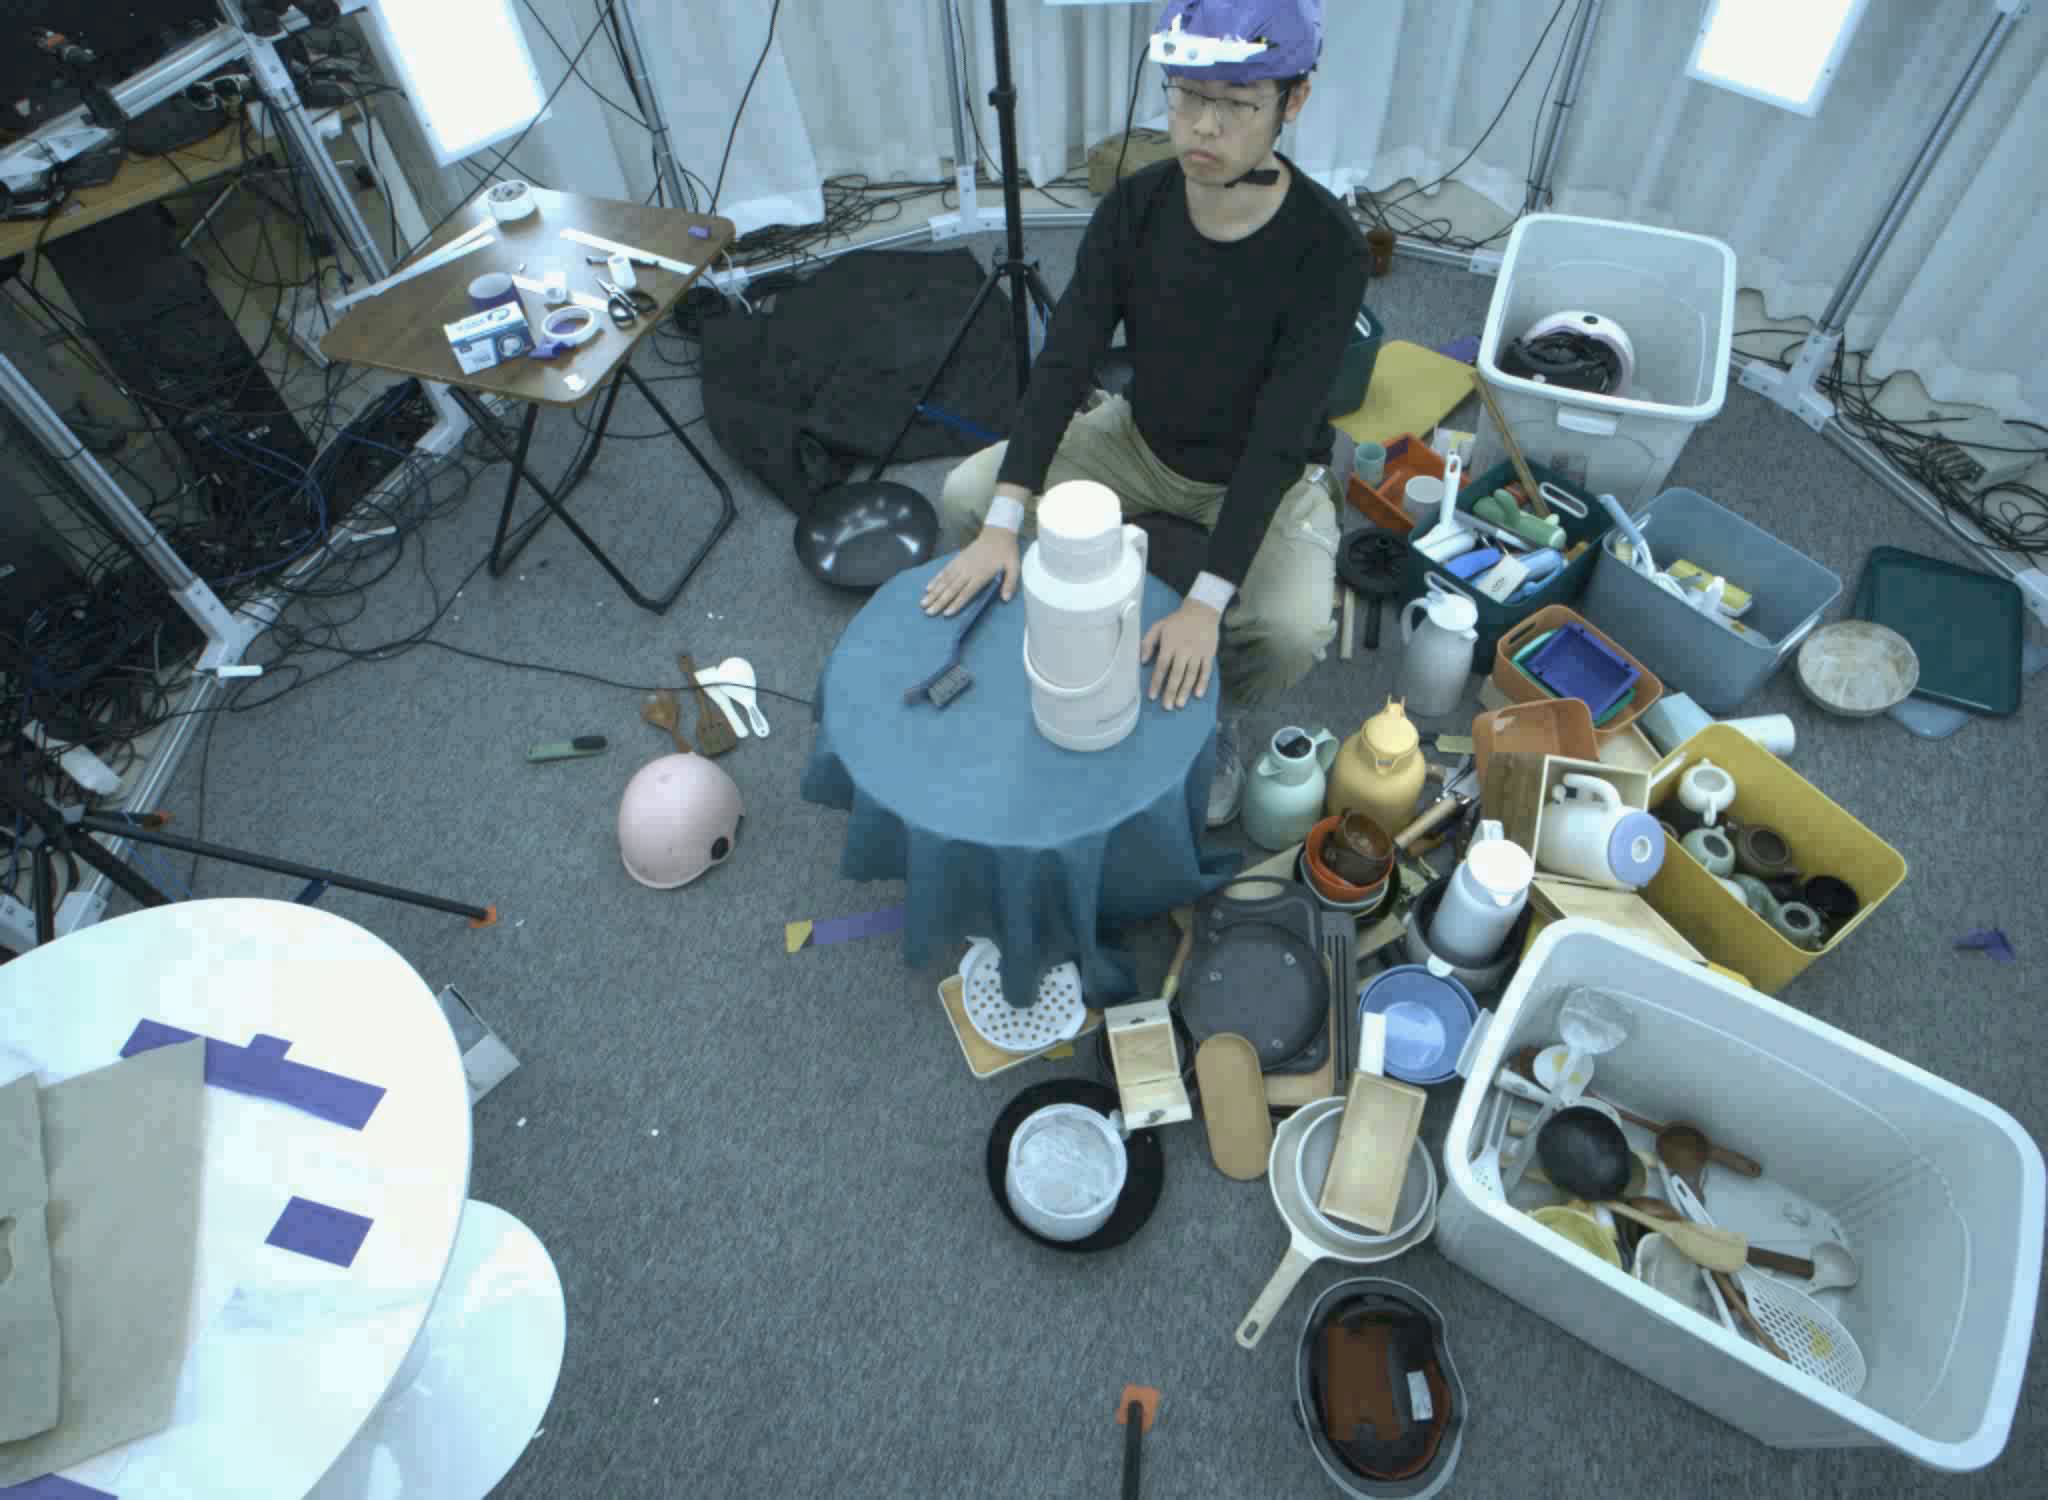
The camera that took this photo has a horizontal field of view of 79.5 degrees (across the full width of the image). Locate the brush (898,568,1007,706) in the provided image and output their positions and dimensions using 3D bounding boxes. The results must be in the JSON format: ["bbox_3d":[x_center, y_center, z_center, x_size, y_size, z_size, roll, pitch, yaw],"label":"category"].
[{"bbox_3d":[-0.103,-0.181,1.898,0.095,0.034,0.272,16,59,11],"label":"brush"}]

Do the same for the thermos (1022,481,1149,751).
[{"bbox_3d":[0.093,-0.185,1.671,0.172,0.411,0.208,36,64,27],"label":"thermos"}]
